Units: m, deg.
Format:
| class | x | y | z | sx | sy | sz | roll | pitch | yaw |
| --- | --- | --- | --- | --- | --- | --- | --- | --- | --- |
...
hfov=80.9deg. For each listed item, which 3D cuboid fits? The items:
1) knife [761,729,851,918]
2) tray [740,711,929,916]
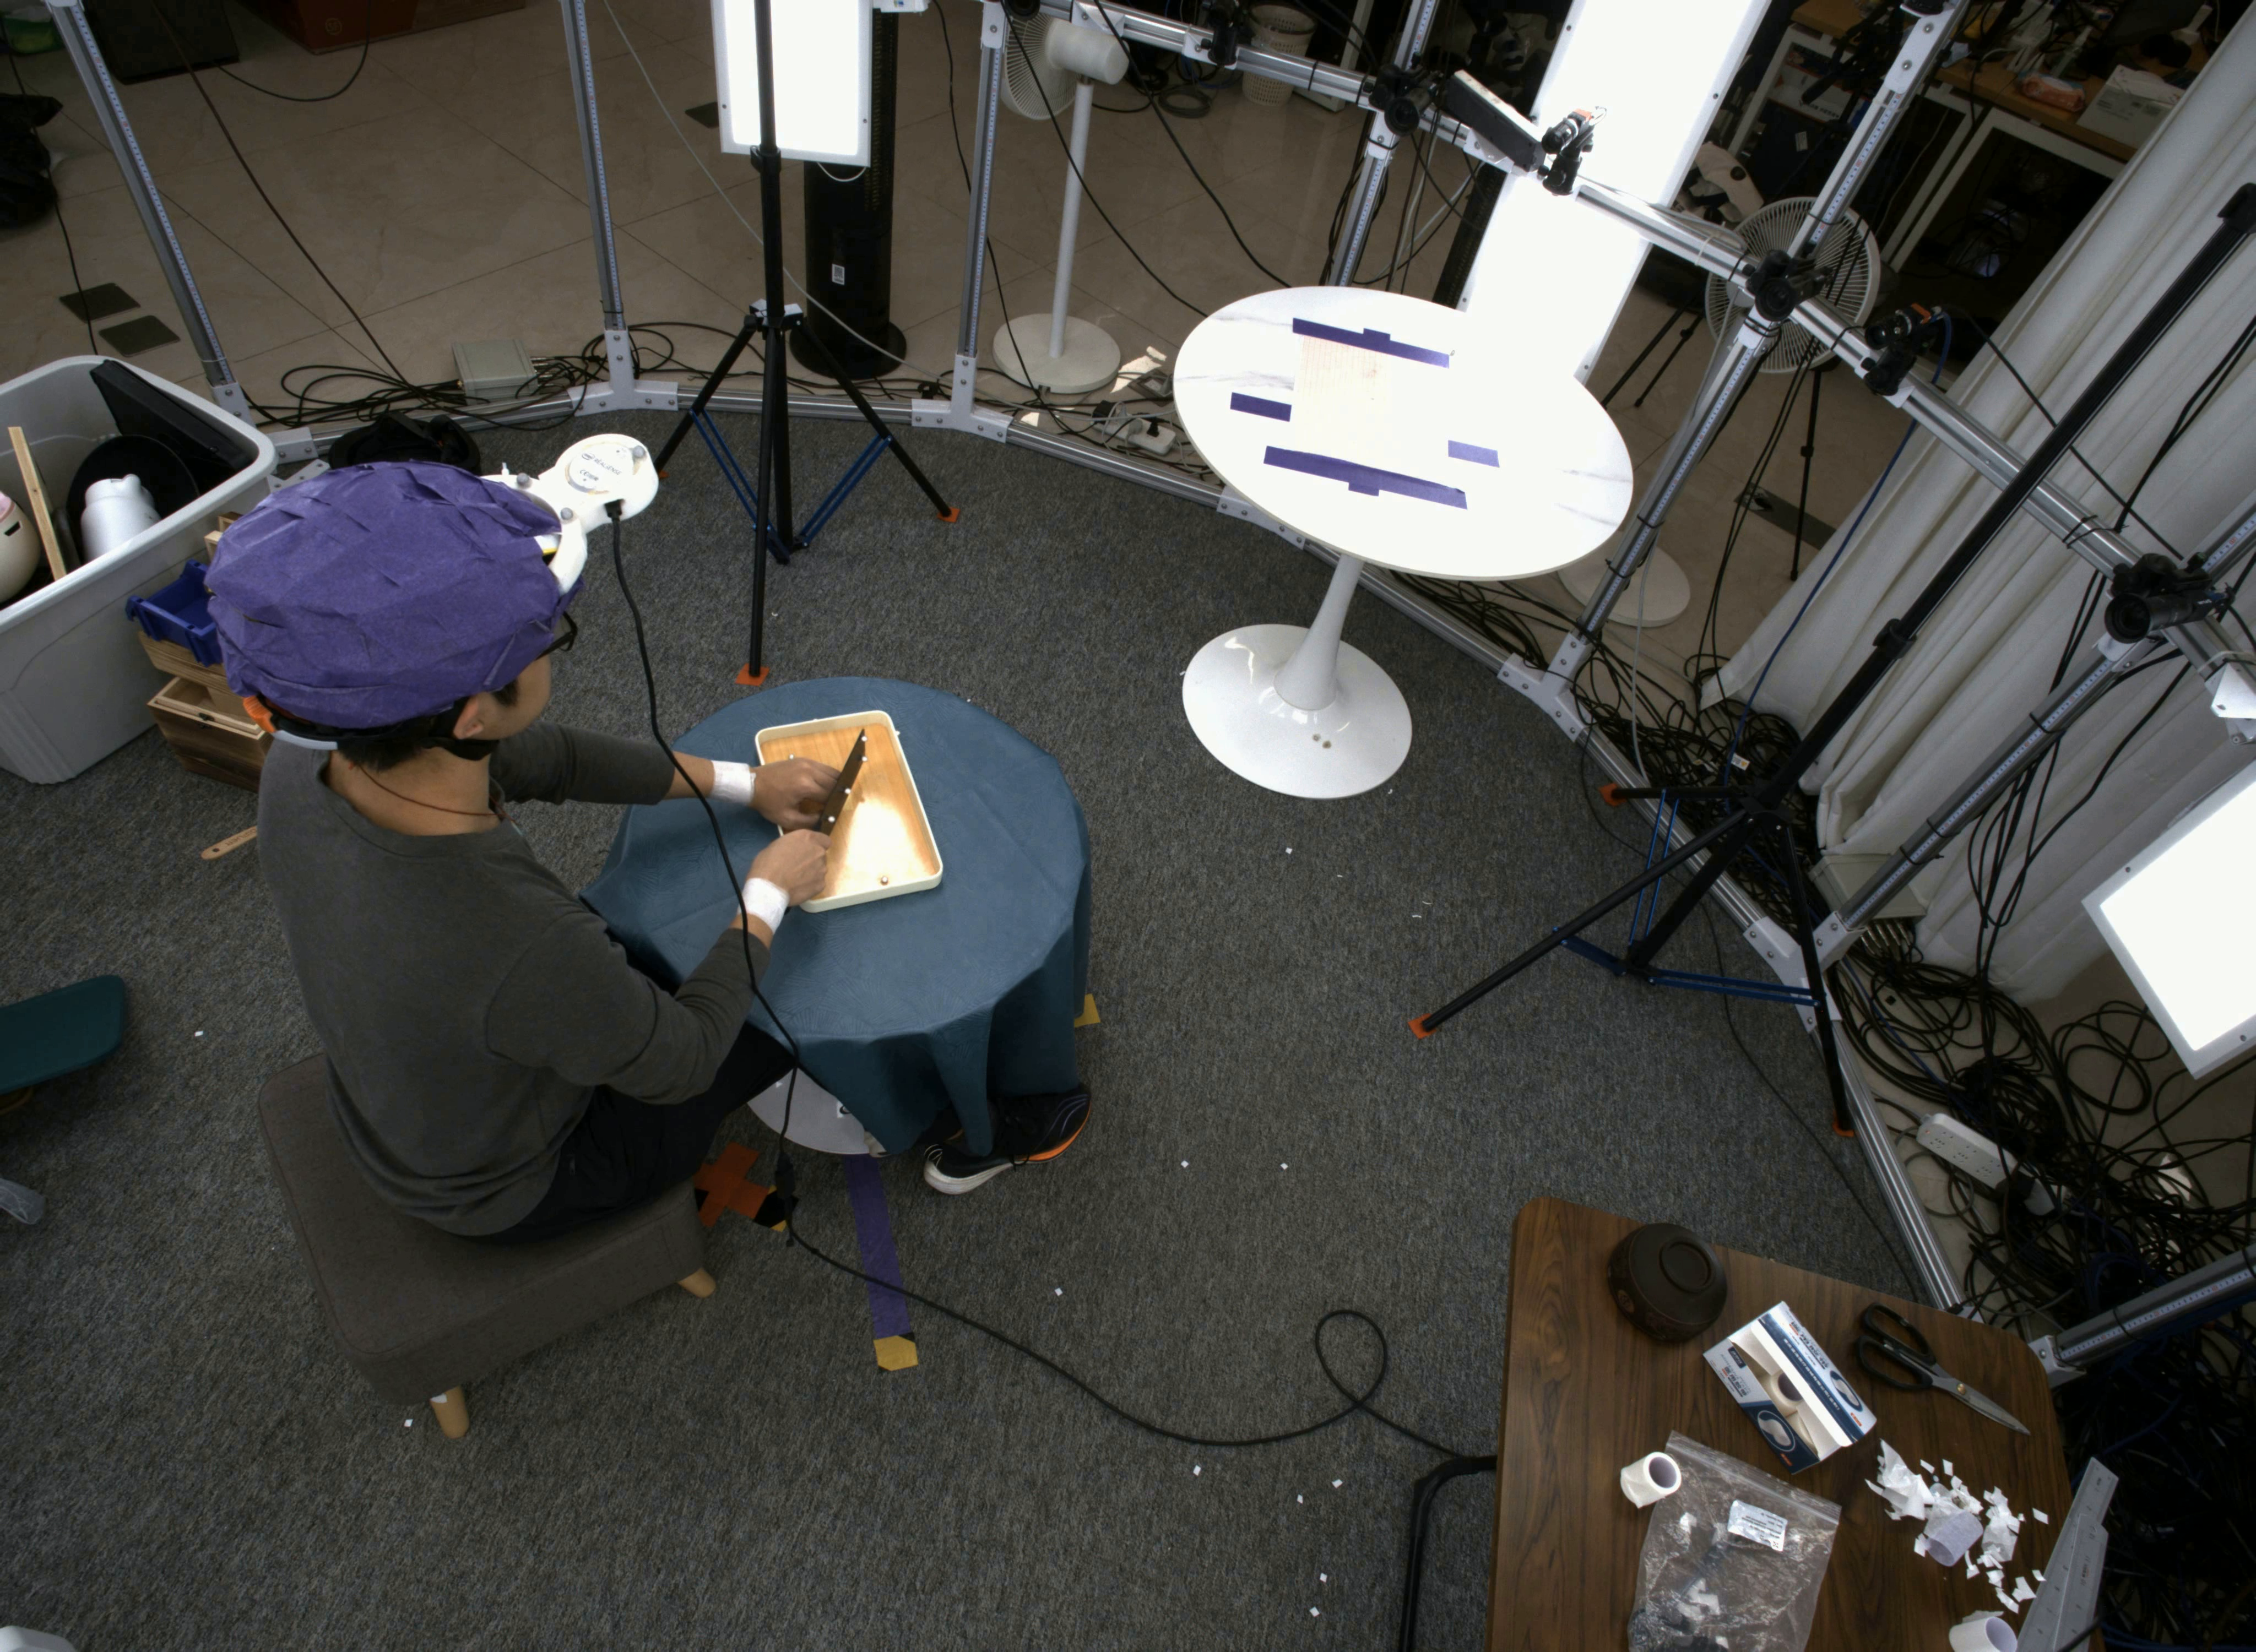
| class | x | y | z | sx | sy | sz | roll | pitch | yaw |
| --- | --- | --- | --- | --- | --- | --- | --- | --- | --- |
| knife | -0.408 | -0.004 | 1.670 | 0.020 | 0.083 | 0.298 | 12 | 47 | 3 |
| tray | -0.397 | -0.024 | 1.743 | 0.192 | 0.028 | 0.293 | -12 | 58 | -22 |
